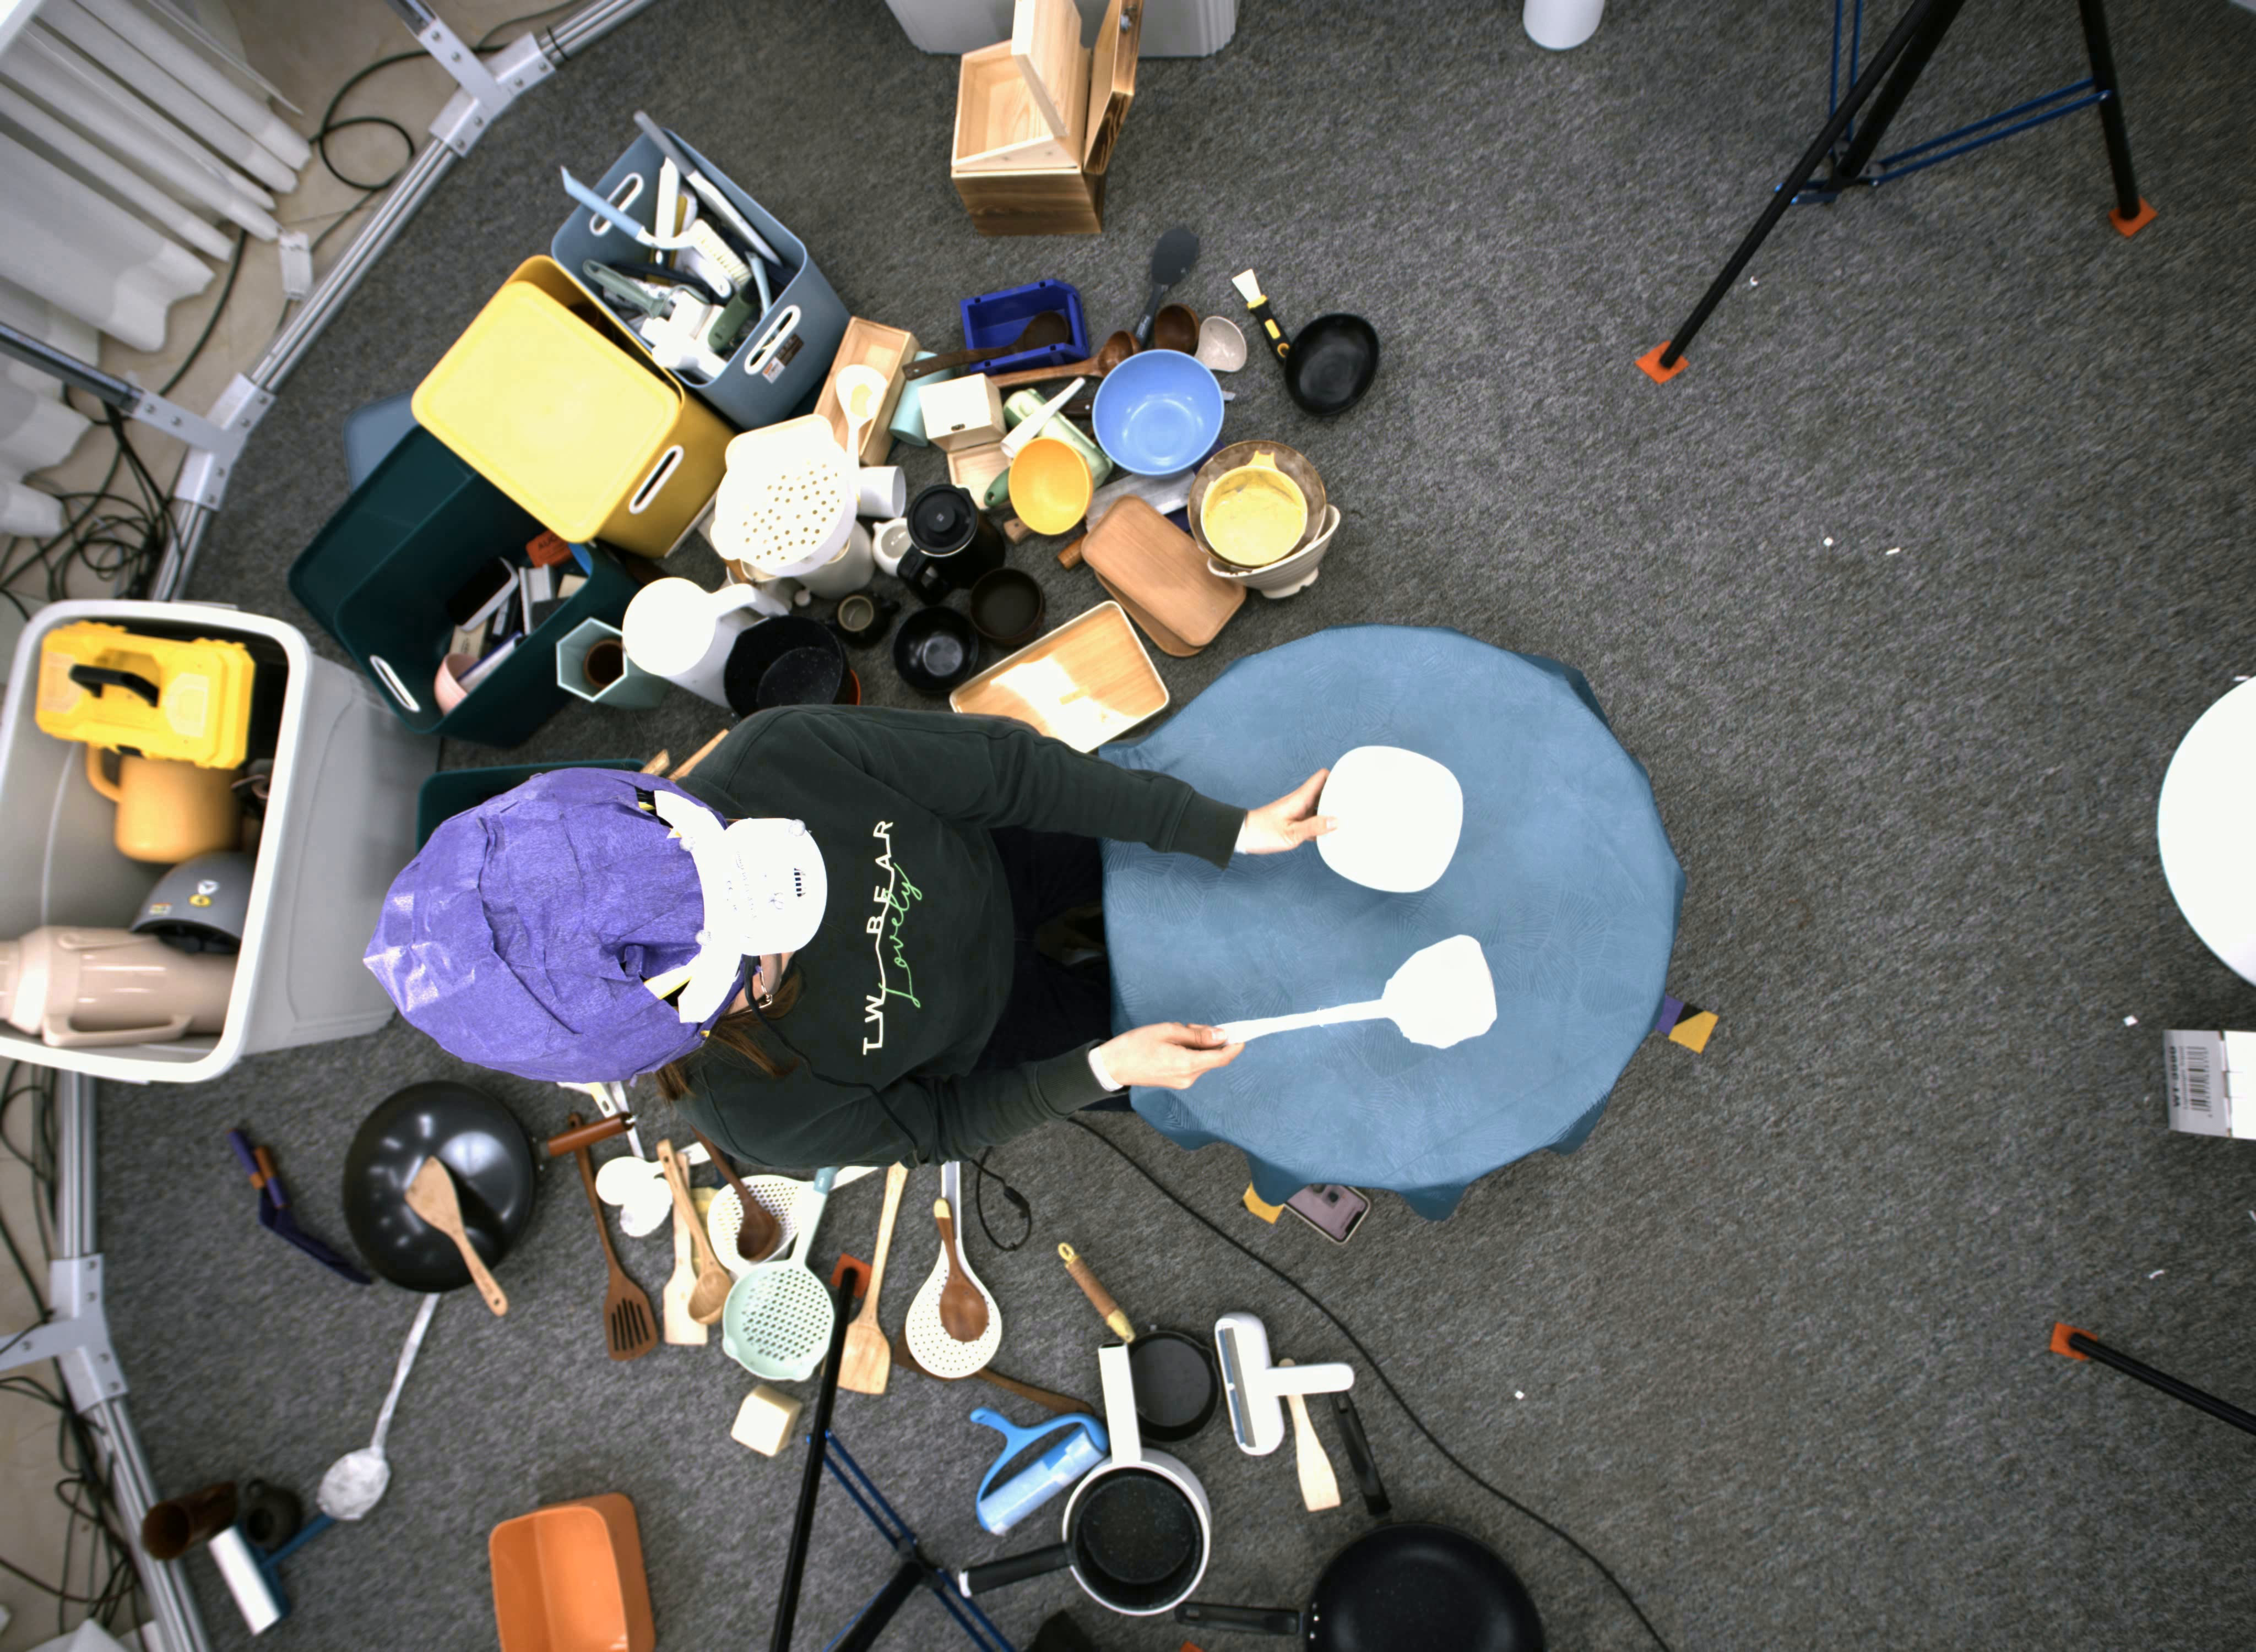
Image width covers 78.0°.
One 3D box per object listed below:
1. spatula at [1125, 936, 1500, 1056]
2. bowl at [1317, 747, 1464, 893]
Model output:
[{"bbox_3d":[0.170,0.182,1.326,0.367,0.045,0.097,-11,69,11],"label":"spatula"},{"bbox_3d":[0.263,-0.009,1.367,0.152,0.058,0.152,2,97,18],"label":"bowl"}]
